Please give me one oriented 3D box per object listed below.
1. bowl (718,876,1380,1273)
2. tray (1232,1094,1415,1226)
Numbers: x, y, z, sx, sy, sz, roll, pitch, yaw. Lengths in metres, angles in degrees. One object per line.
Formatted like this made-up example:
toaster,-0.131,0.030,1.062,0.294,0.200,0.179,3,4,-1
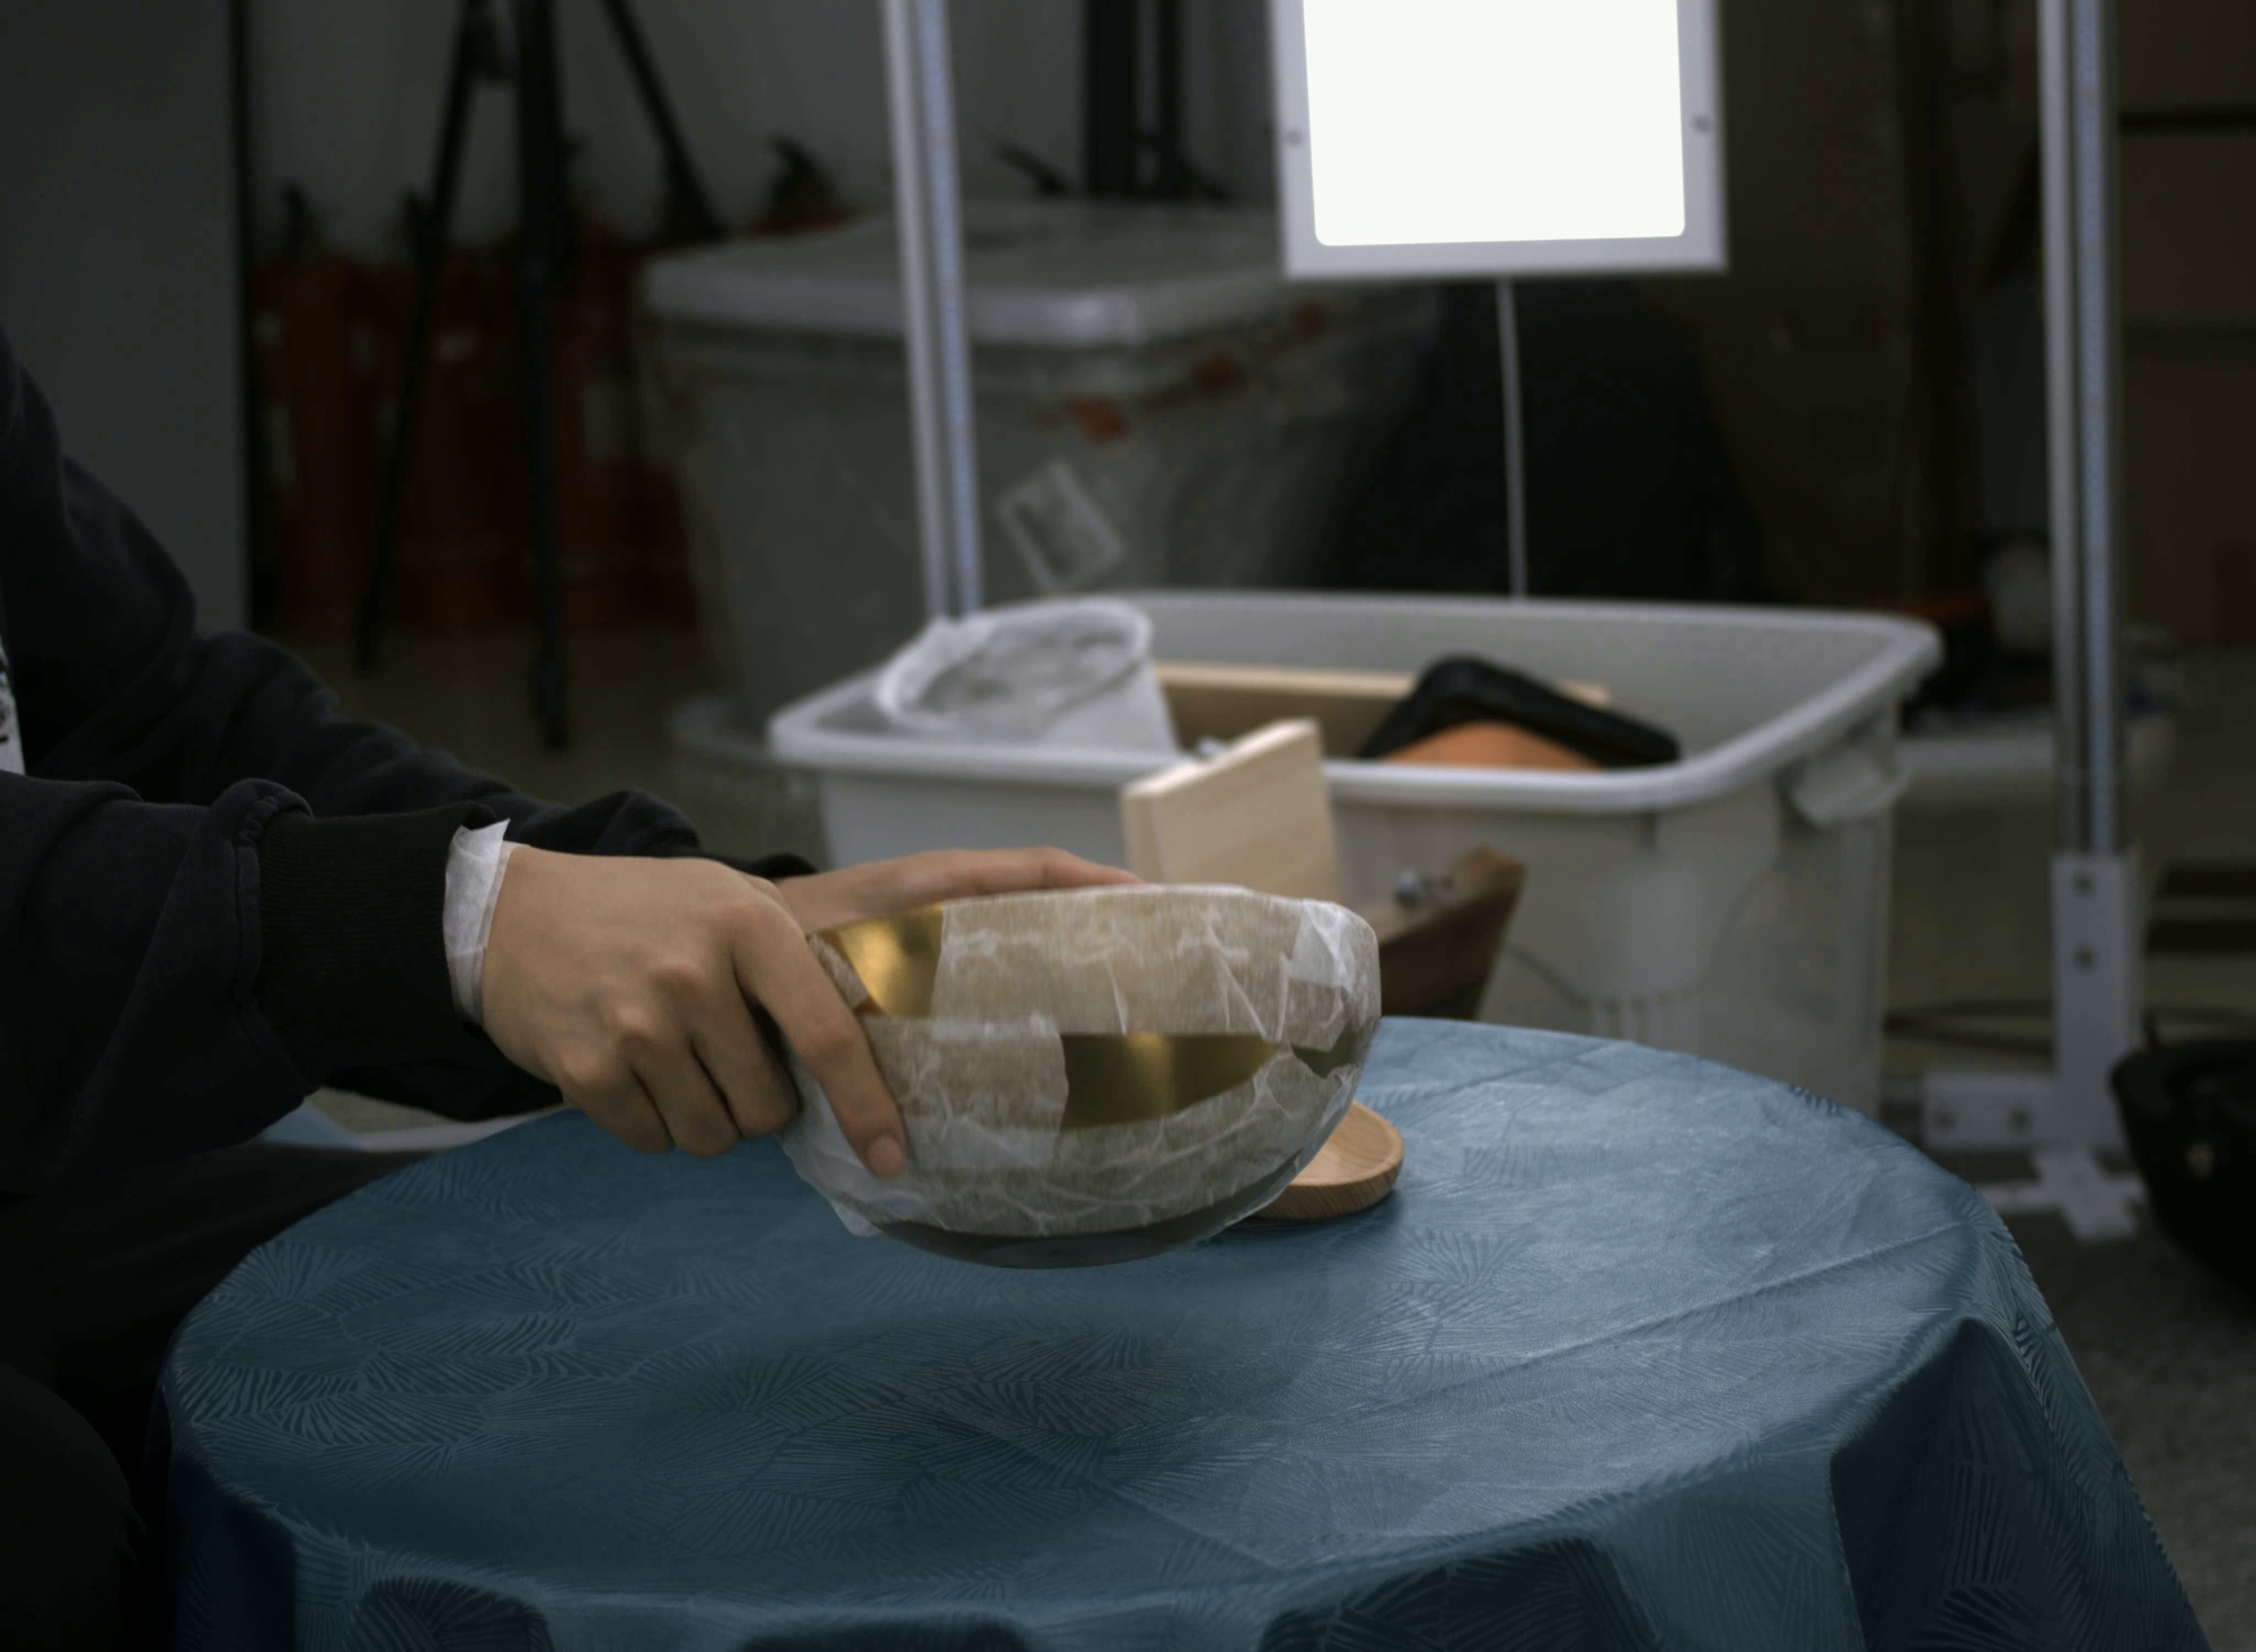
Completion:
bowl,-0.020,0.085,1.680,0.214,0.095,0.215,-4,-15,-2
tray,0.008,0.089,1.928,0.099,0.020,0.235,-9,26,-36
